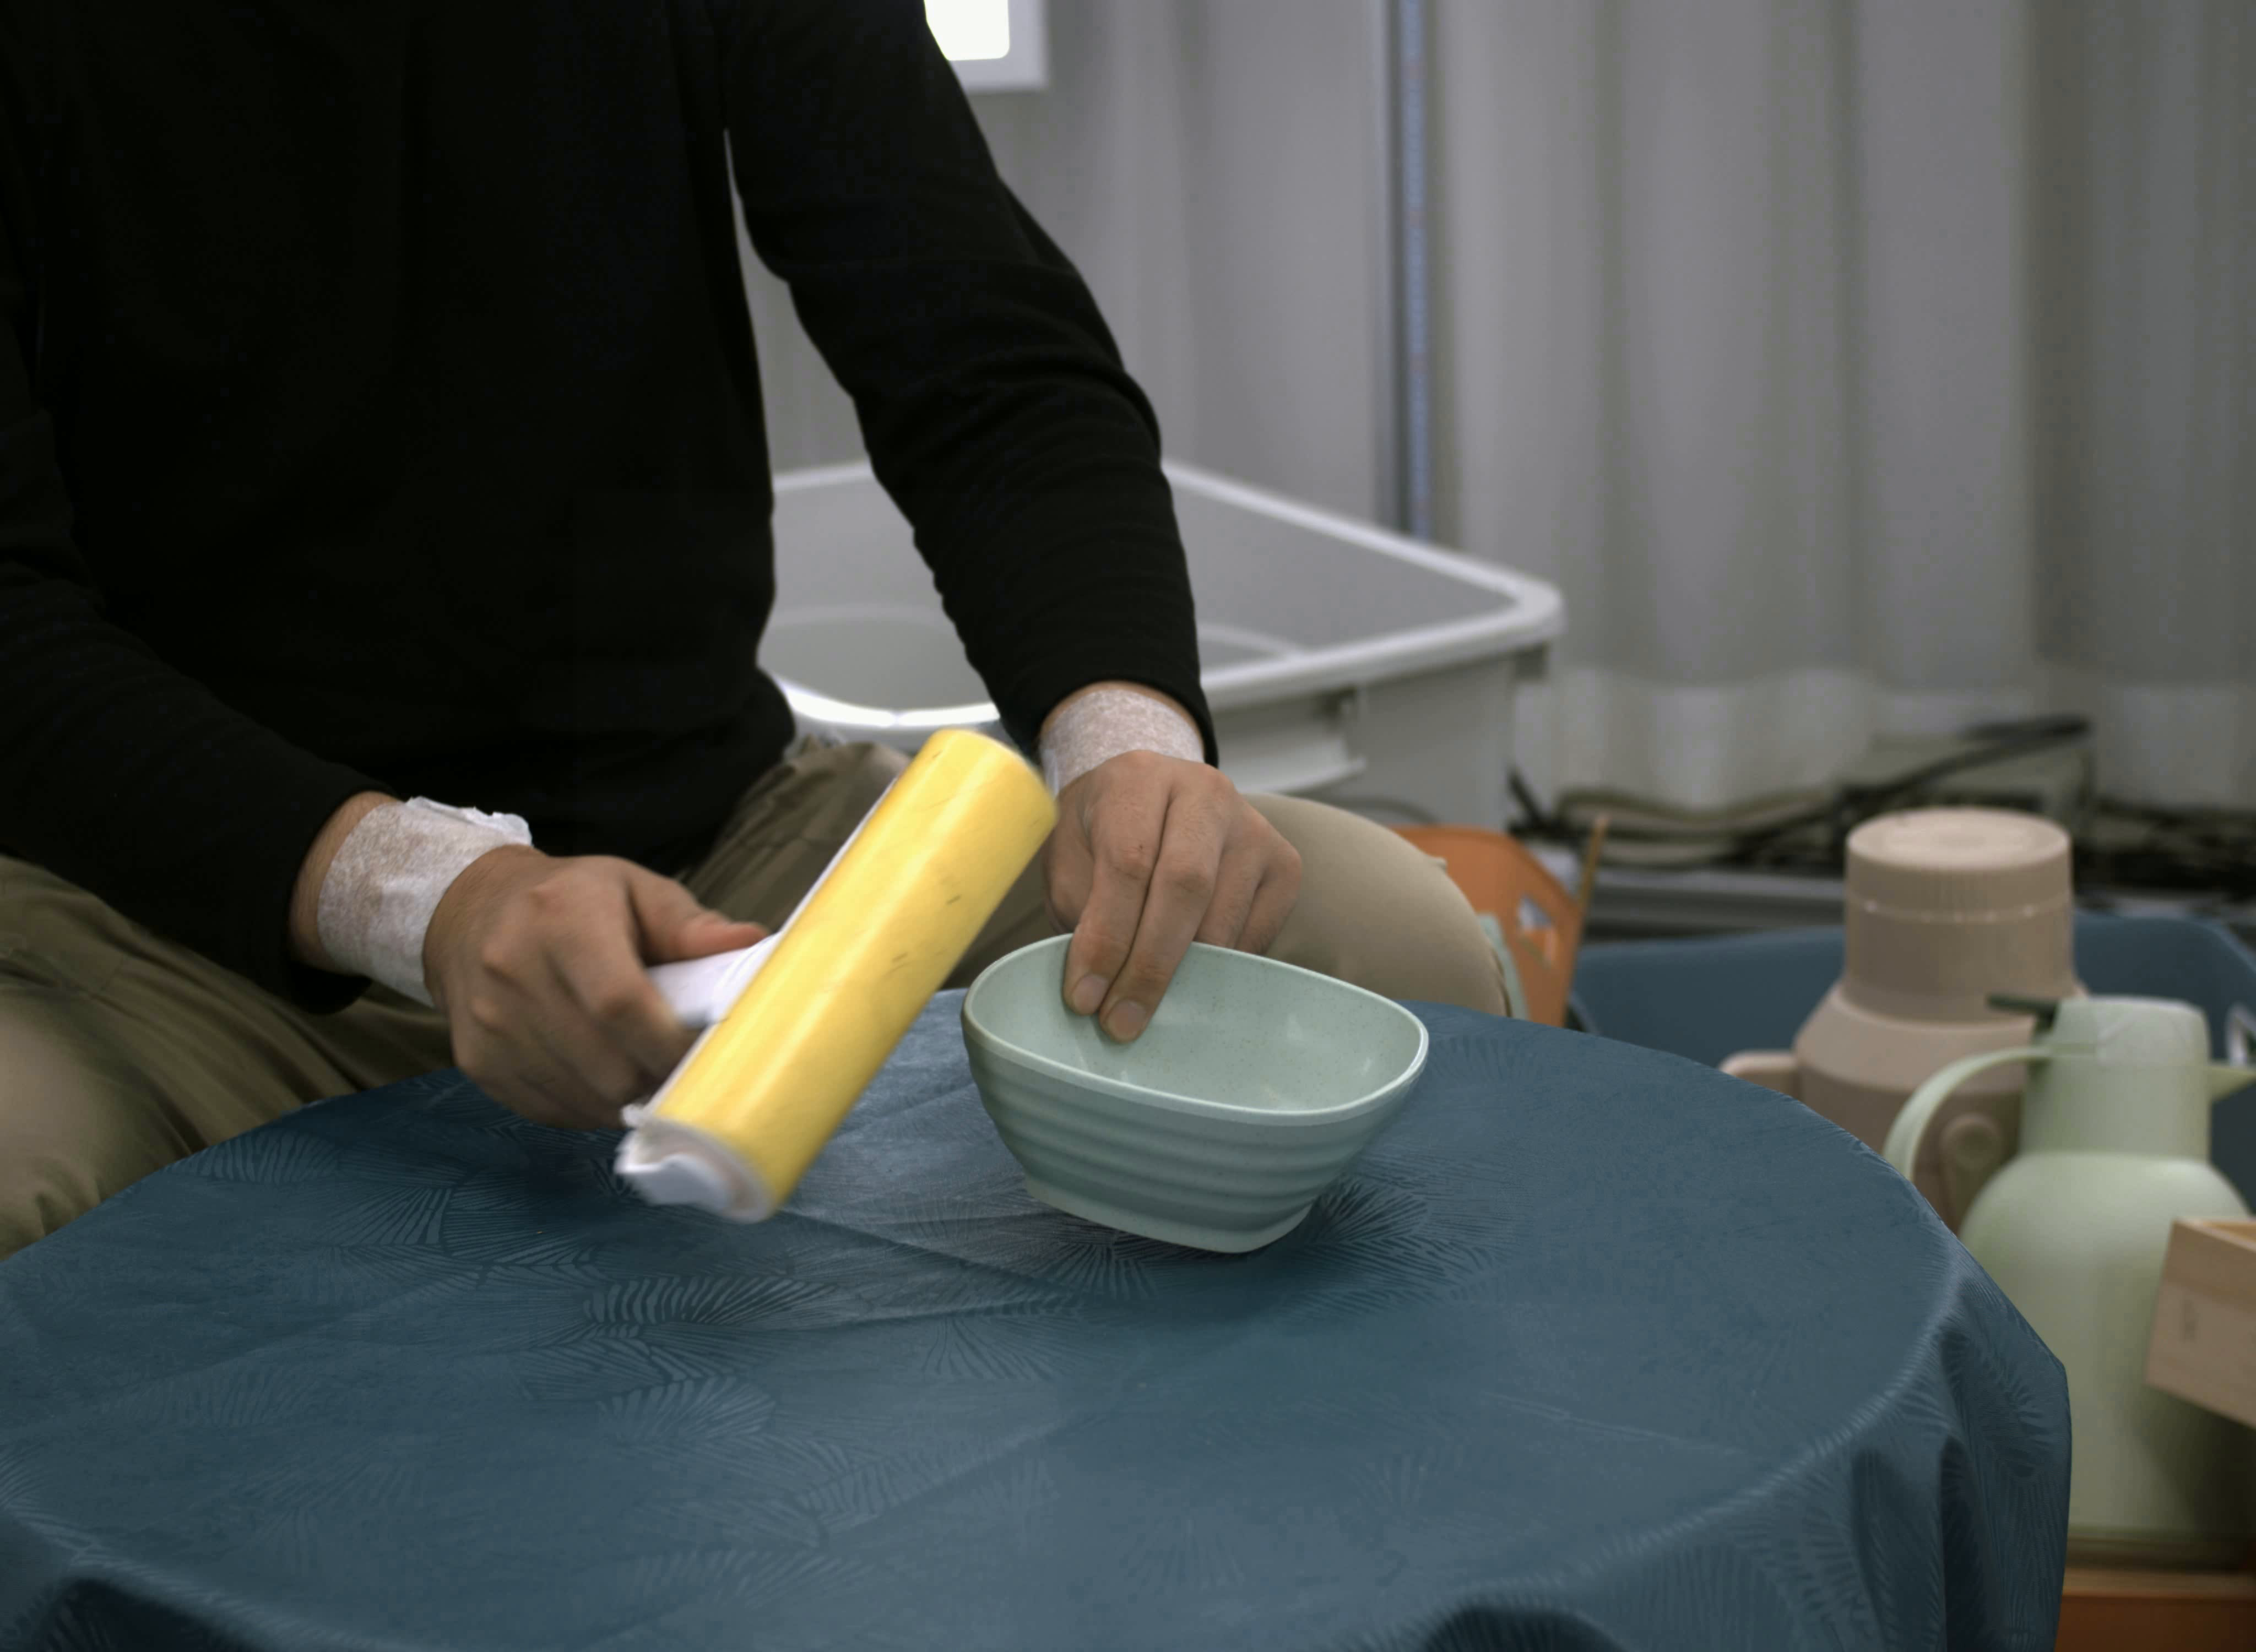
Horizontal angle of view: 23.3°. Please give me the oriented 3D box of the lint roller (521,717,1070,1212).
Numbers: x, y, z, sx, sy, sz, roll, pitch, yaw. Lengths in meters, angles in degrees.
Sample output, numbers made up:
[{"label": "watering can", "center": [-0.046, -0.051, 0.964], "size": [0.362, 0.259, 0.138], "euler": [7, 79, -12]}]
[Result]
[{"label": "lint roller", "center": [-0.128, 0.042, 1.684], "size": [0.192, 0.051, 0.176], "euler": [0, 45, 41]}]

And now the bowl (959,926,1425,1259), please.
[{"label": "bowl", "center": [0.016, 0.086, 1.679], "size": [0.151, 0.058, 0.153], "euler": [9, 19, -3]}]
